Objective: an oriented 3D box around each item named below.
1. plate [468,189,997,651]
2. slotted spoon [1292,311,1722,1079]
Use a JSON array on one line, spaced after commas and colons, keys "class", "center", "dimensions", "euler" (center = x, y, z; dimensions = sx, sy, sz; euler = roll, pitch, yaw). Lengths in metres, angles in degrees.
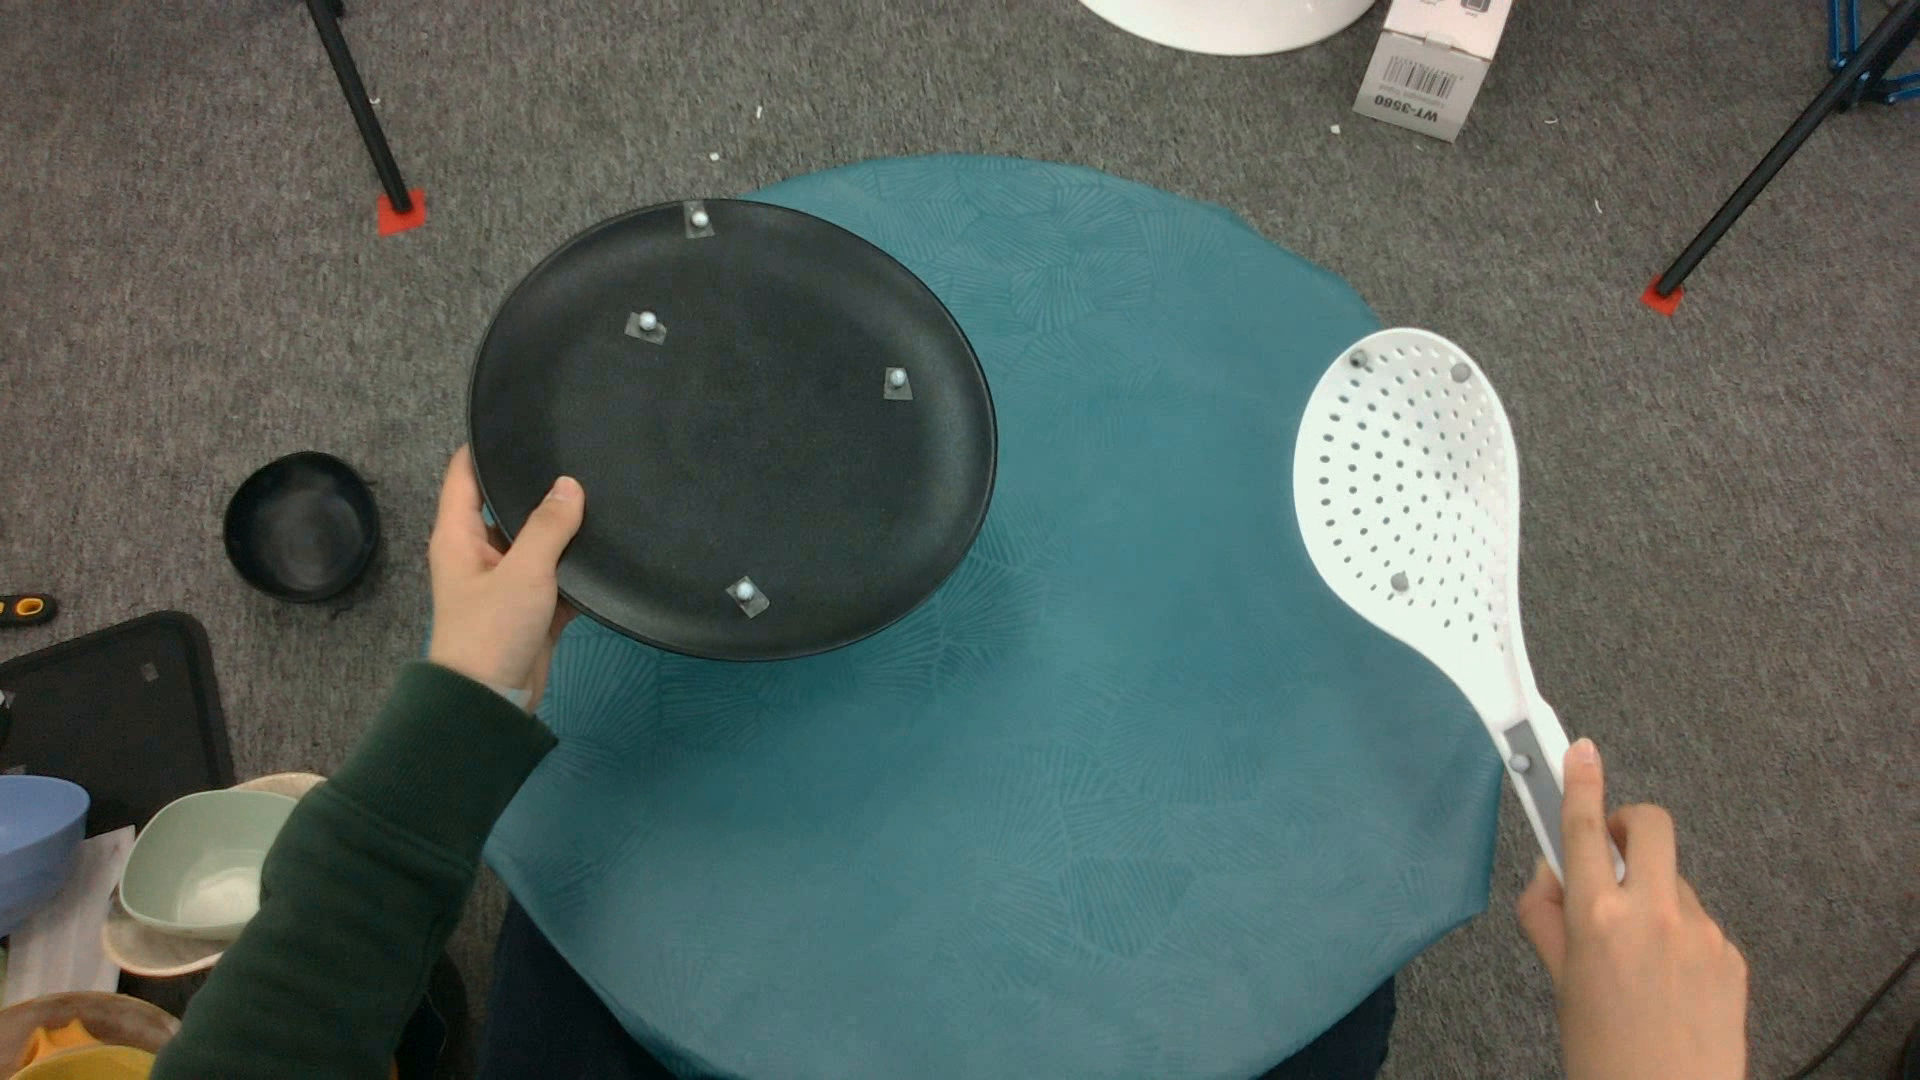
[{"class": "plate", "center": [-0.102, -0.060, 0.649], "dimensions": [0.244, 0.023, 0.245], "euler": [6, 65, -13]}, {"class": "slotted spoon", "center": [0.231, 0.057, 0.589], "dimensions": [0.046, 0.135, 0.351], "euler": [2, 60, -24]}]
